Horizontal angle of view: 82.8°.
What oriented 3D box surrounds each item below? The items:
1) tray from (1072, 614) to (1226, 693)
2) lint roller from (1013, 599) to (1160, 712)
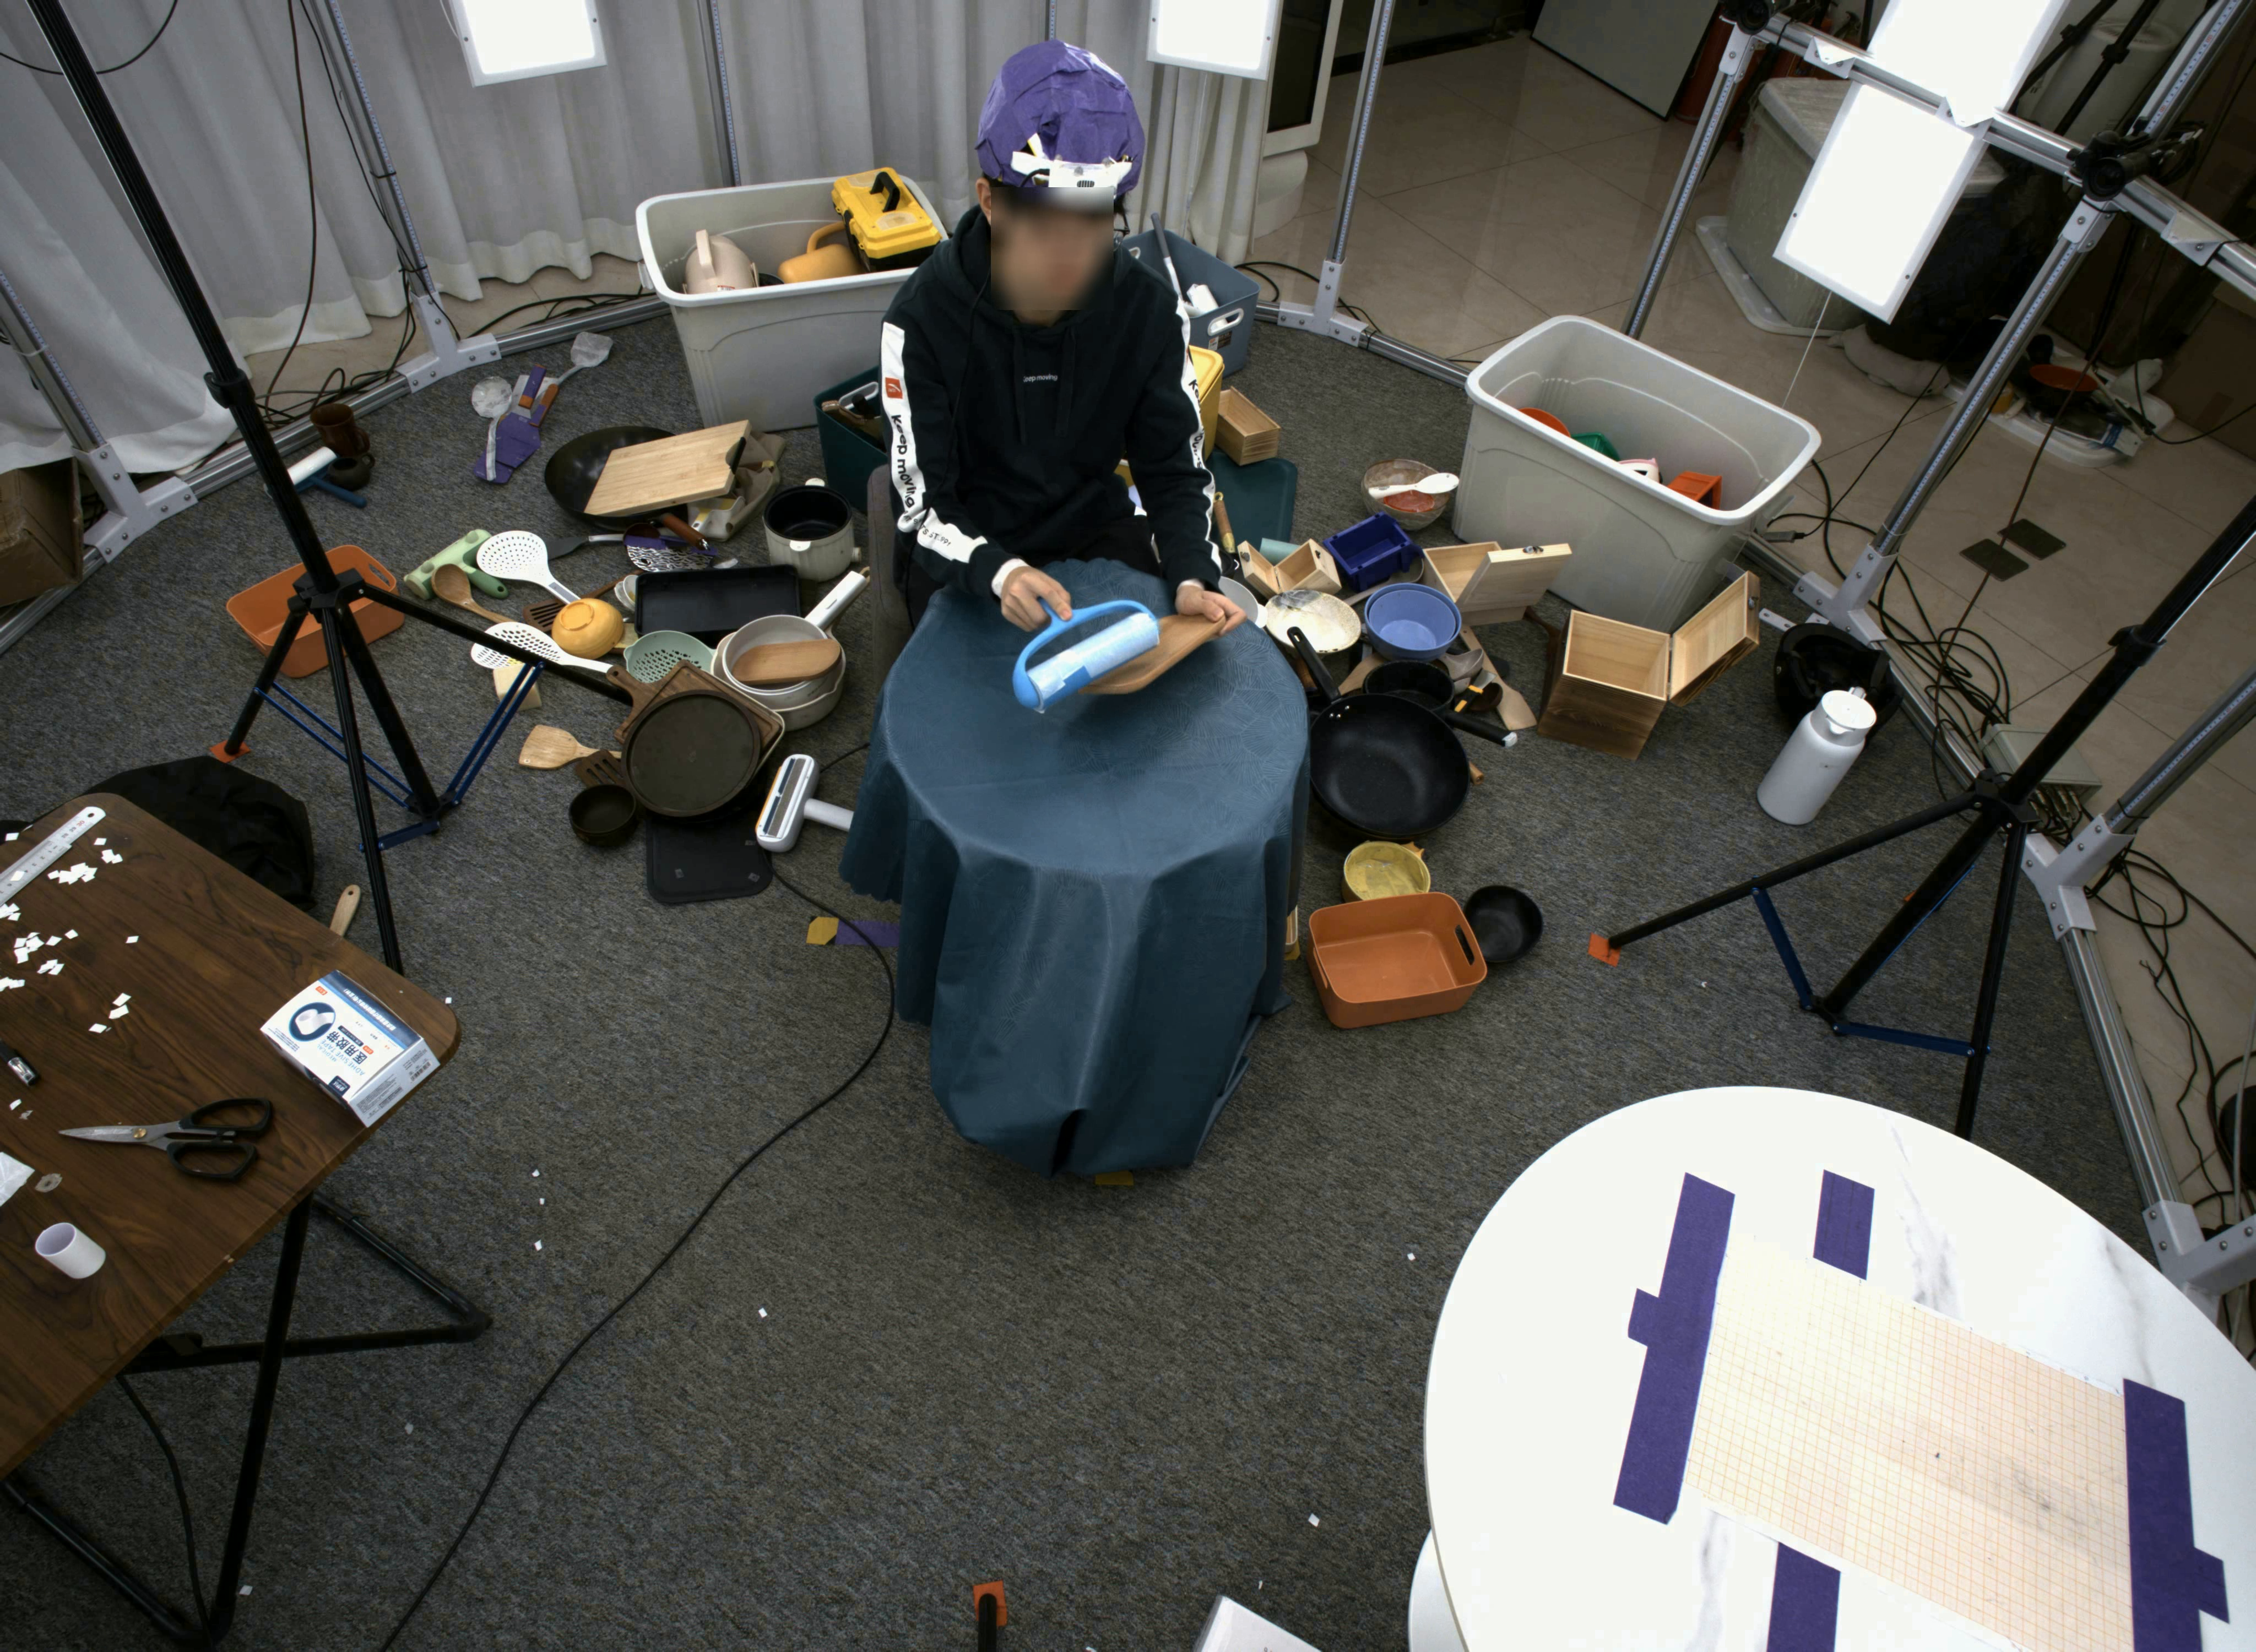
[{"bbox_3d":[0.030,-0.242,1.789,0.131,0.022,0.254,2,31,40],"label":"tray"},{"bbox_3d":[-0.089,-0.258,1.713,0.230,0.066,0.183,-35,65,-23],"label":"lint roller"}]
